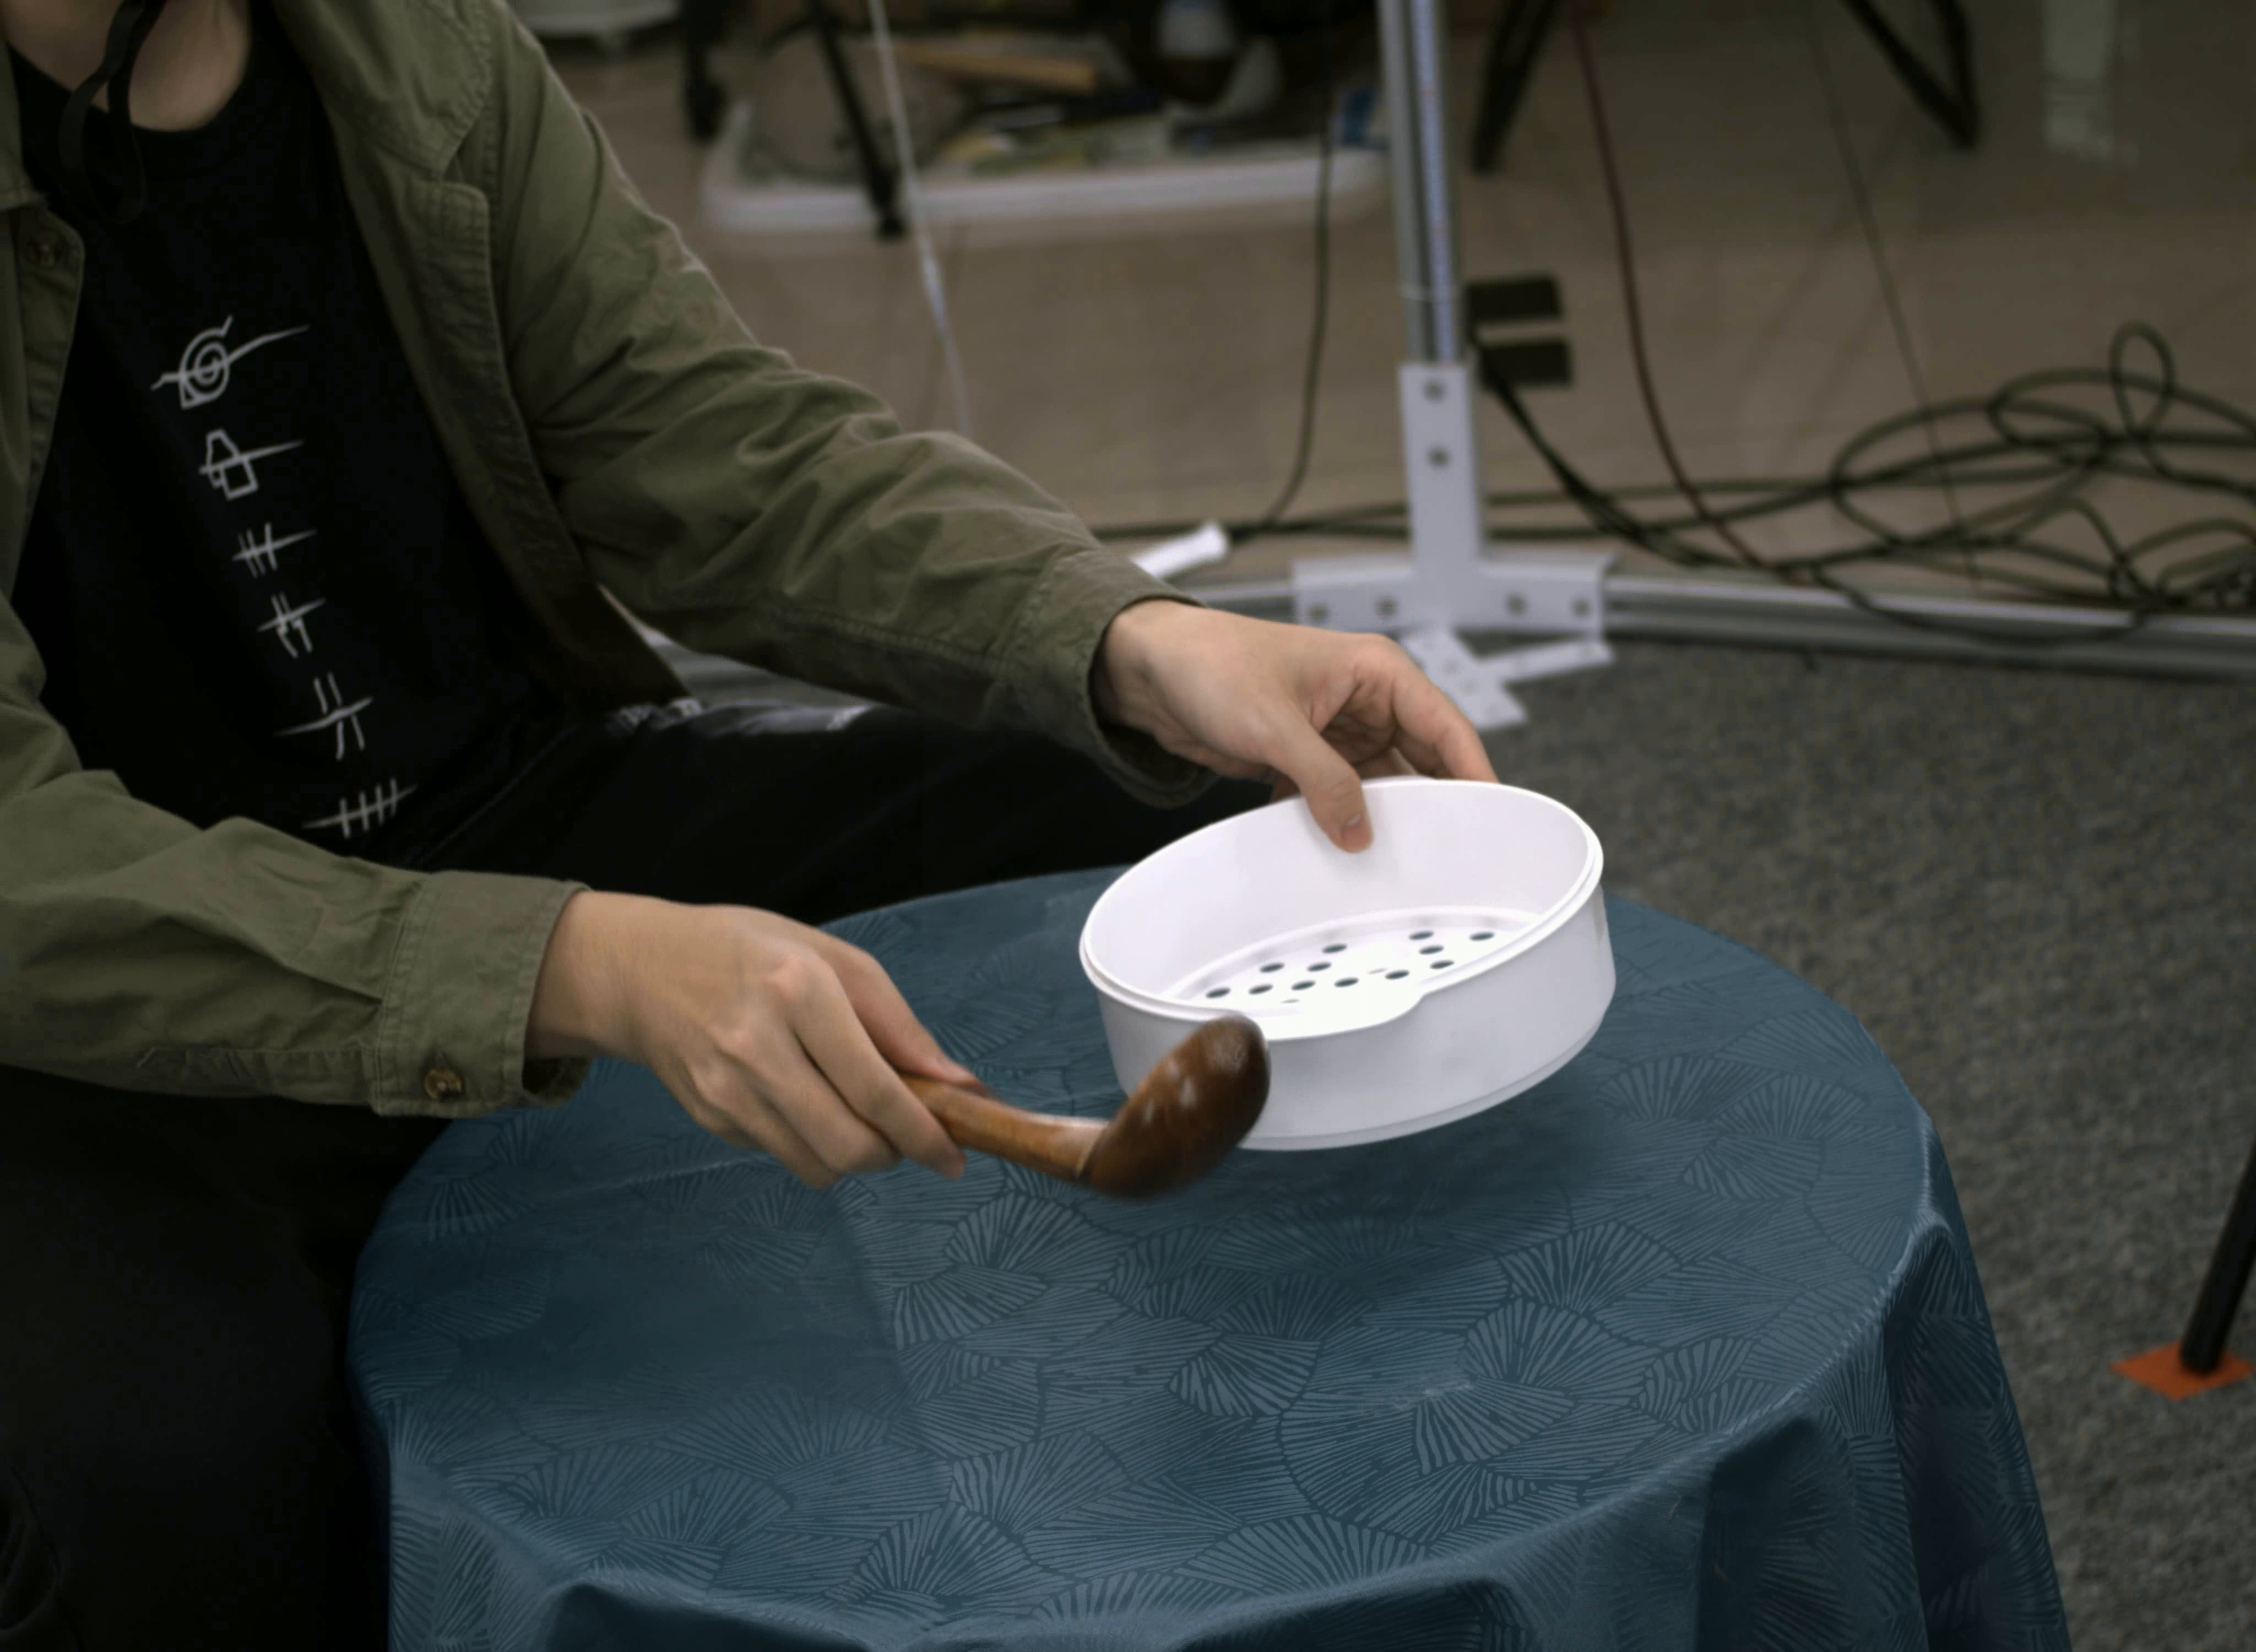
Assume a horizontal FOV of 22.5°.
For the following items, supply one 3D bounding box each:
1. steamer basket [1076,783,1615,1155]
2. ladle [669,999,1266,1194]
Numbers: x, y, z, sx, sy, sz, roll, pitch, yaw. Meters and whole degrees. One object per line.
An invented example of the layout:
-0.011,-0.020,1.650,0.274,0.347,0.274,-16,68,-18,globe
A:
0.084,0.055,2.137,0.202,0.070,0.227,-8,23,10,steamer basket
-0.067,0.078,2.011,0.272,0.078,0.081,12,29,38,ladle
